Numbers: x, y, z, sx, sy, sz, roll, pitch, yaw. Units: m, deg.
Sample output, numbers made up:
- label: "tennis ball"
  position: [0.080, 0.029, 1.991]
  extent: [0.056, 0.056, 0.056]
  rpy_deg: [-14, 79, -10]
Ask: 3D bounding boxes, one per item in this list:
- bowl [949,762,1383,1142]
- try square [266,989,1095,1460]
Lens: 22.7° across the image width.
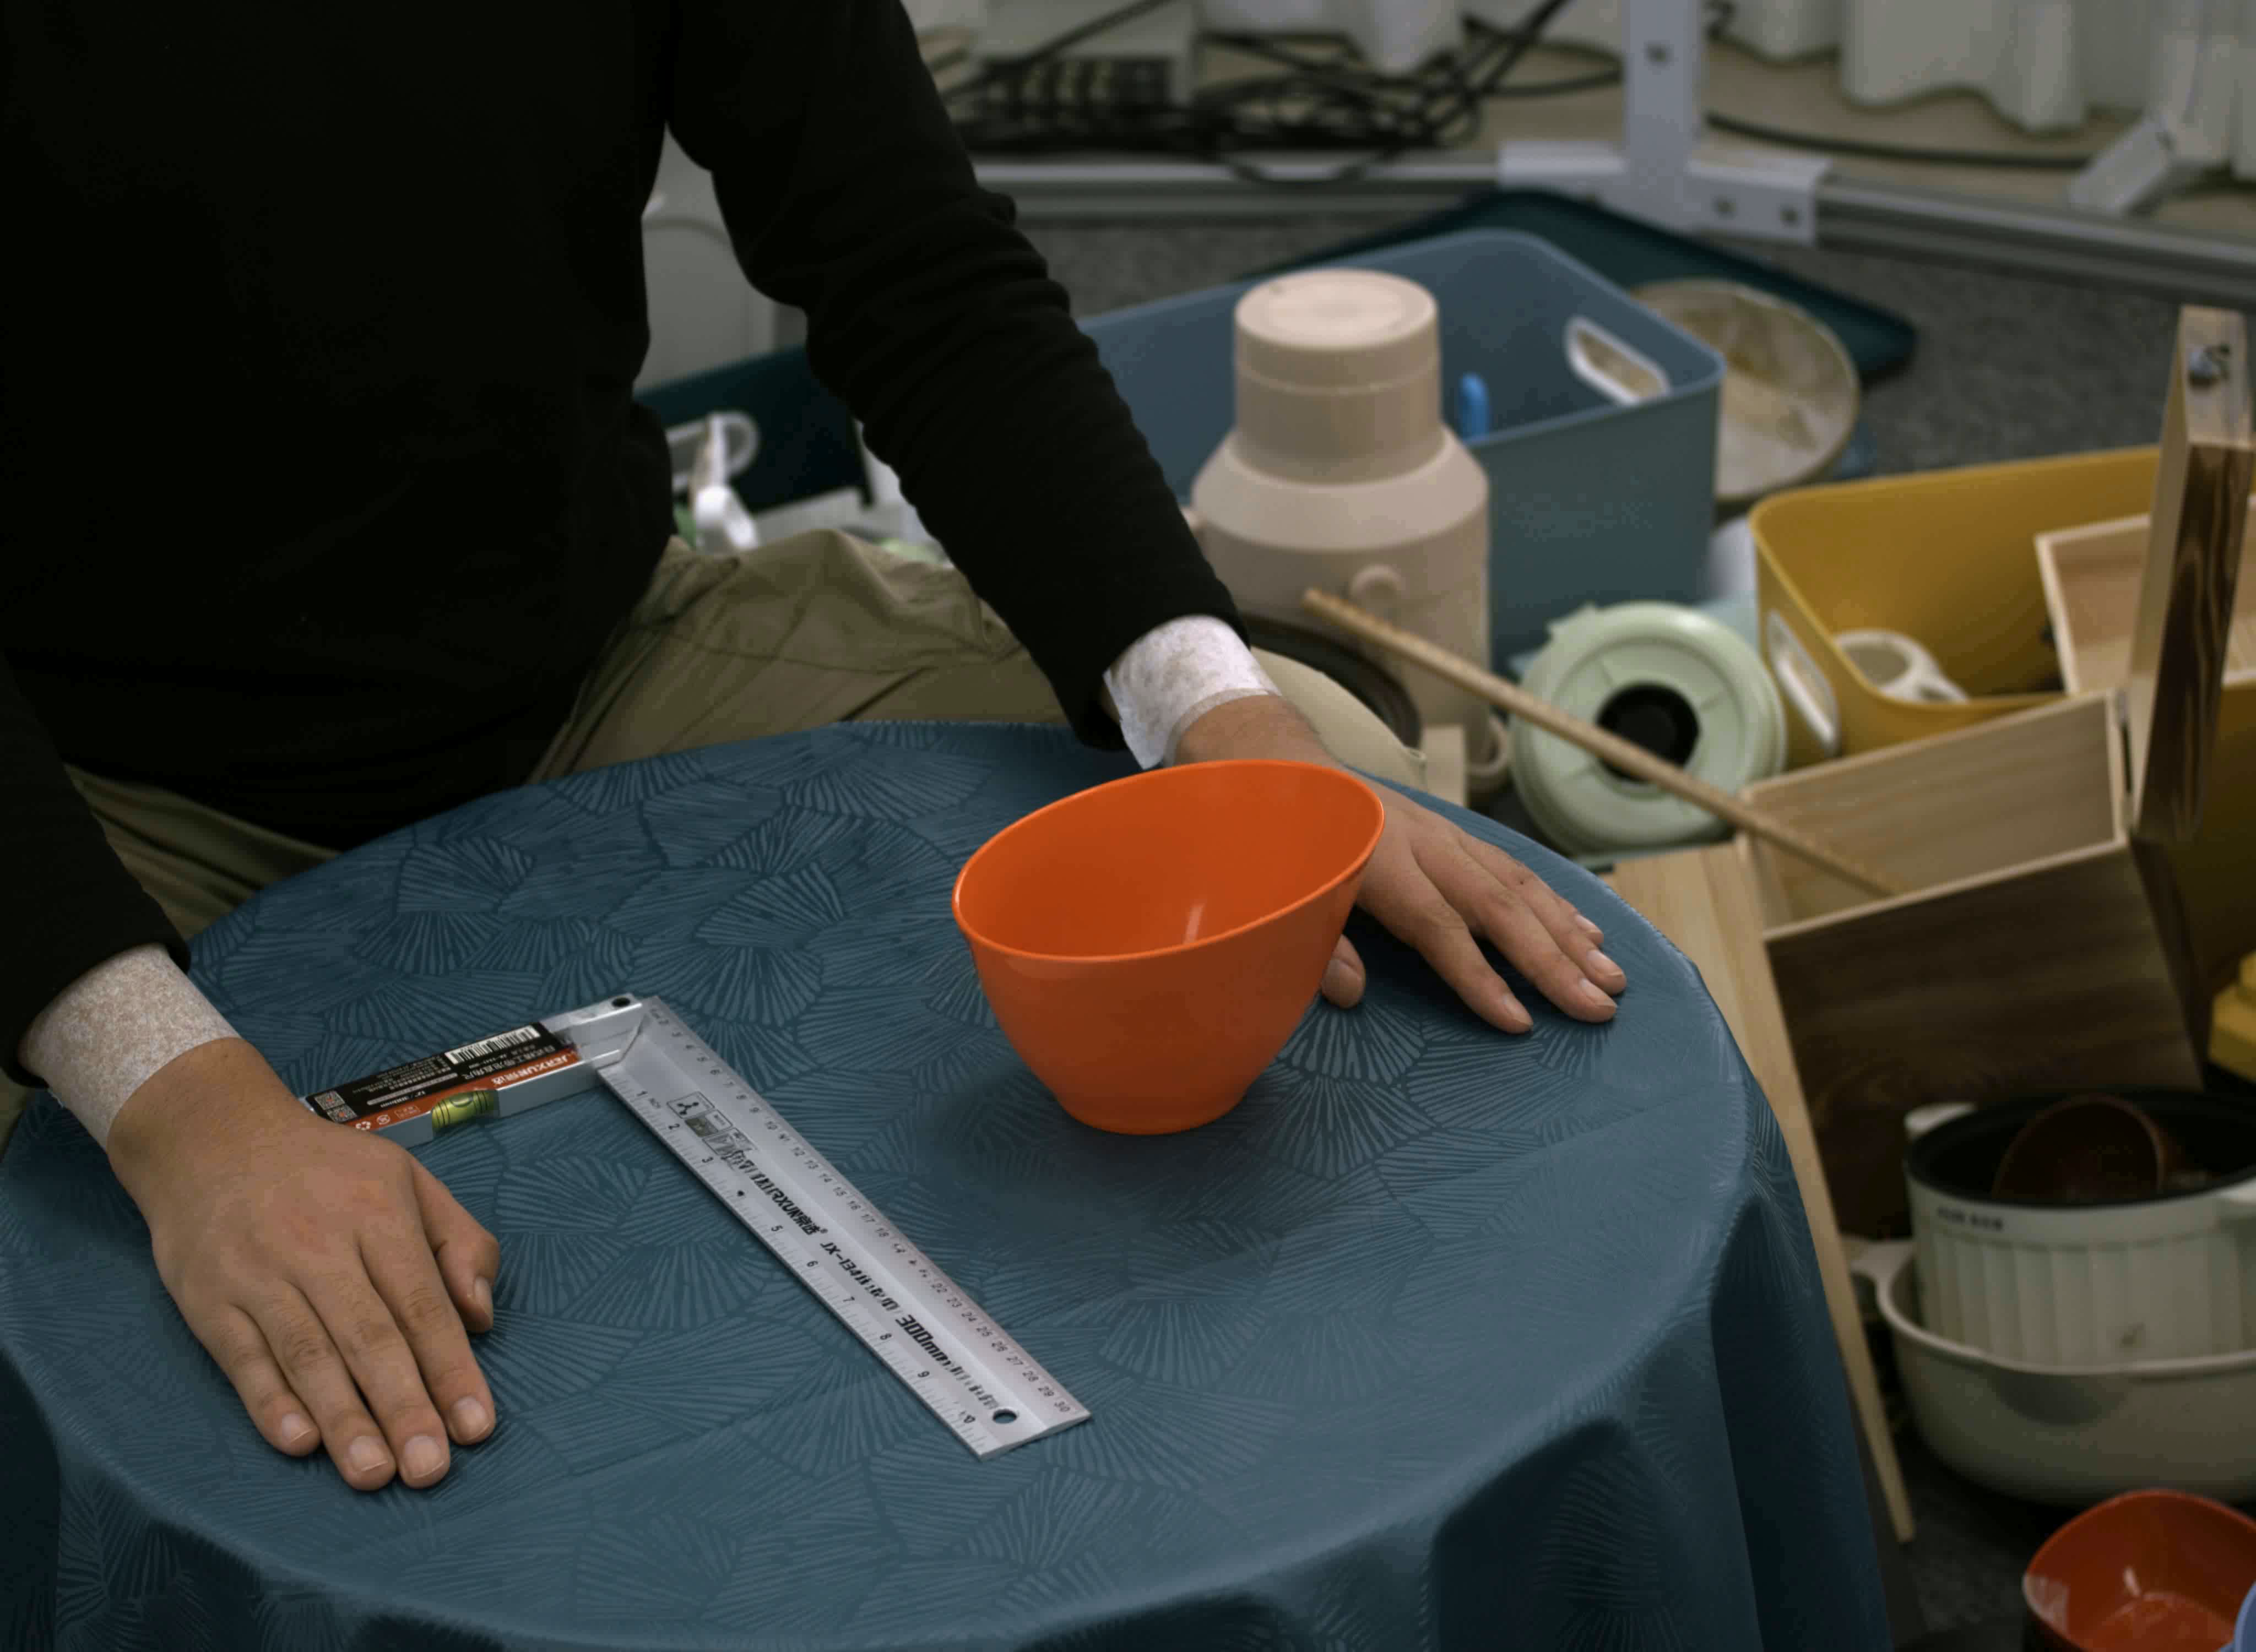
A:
- label: "bowl"
  position: [0.015, 0.048, 1.895]
  extent: [0.147, 0.103, 0.150]
  rpy_deg: [-3, 27, 2]
- label: "try square"
  position: [-0.152, 0.145, 1.831]
  extent: [0.153, 0.015, 0.314]
  rpy_deg: [-21, 33, -23]
